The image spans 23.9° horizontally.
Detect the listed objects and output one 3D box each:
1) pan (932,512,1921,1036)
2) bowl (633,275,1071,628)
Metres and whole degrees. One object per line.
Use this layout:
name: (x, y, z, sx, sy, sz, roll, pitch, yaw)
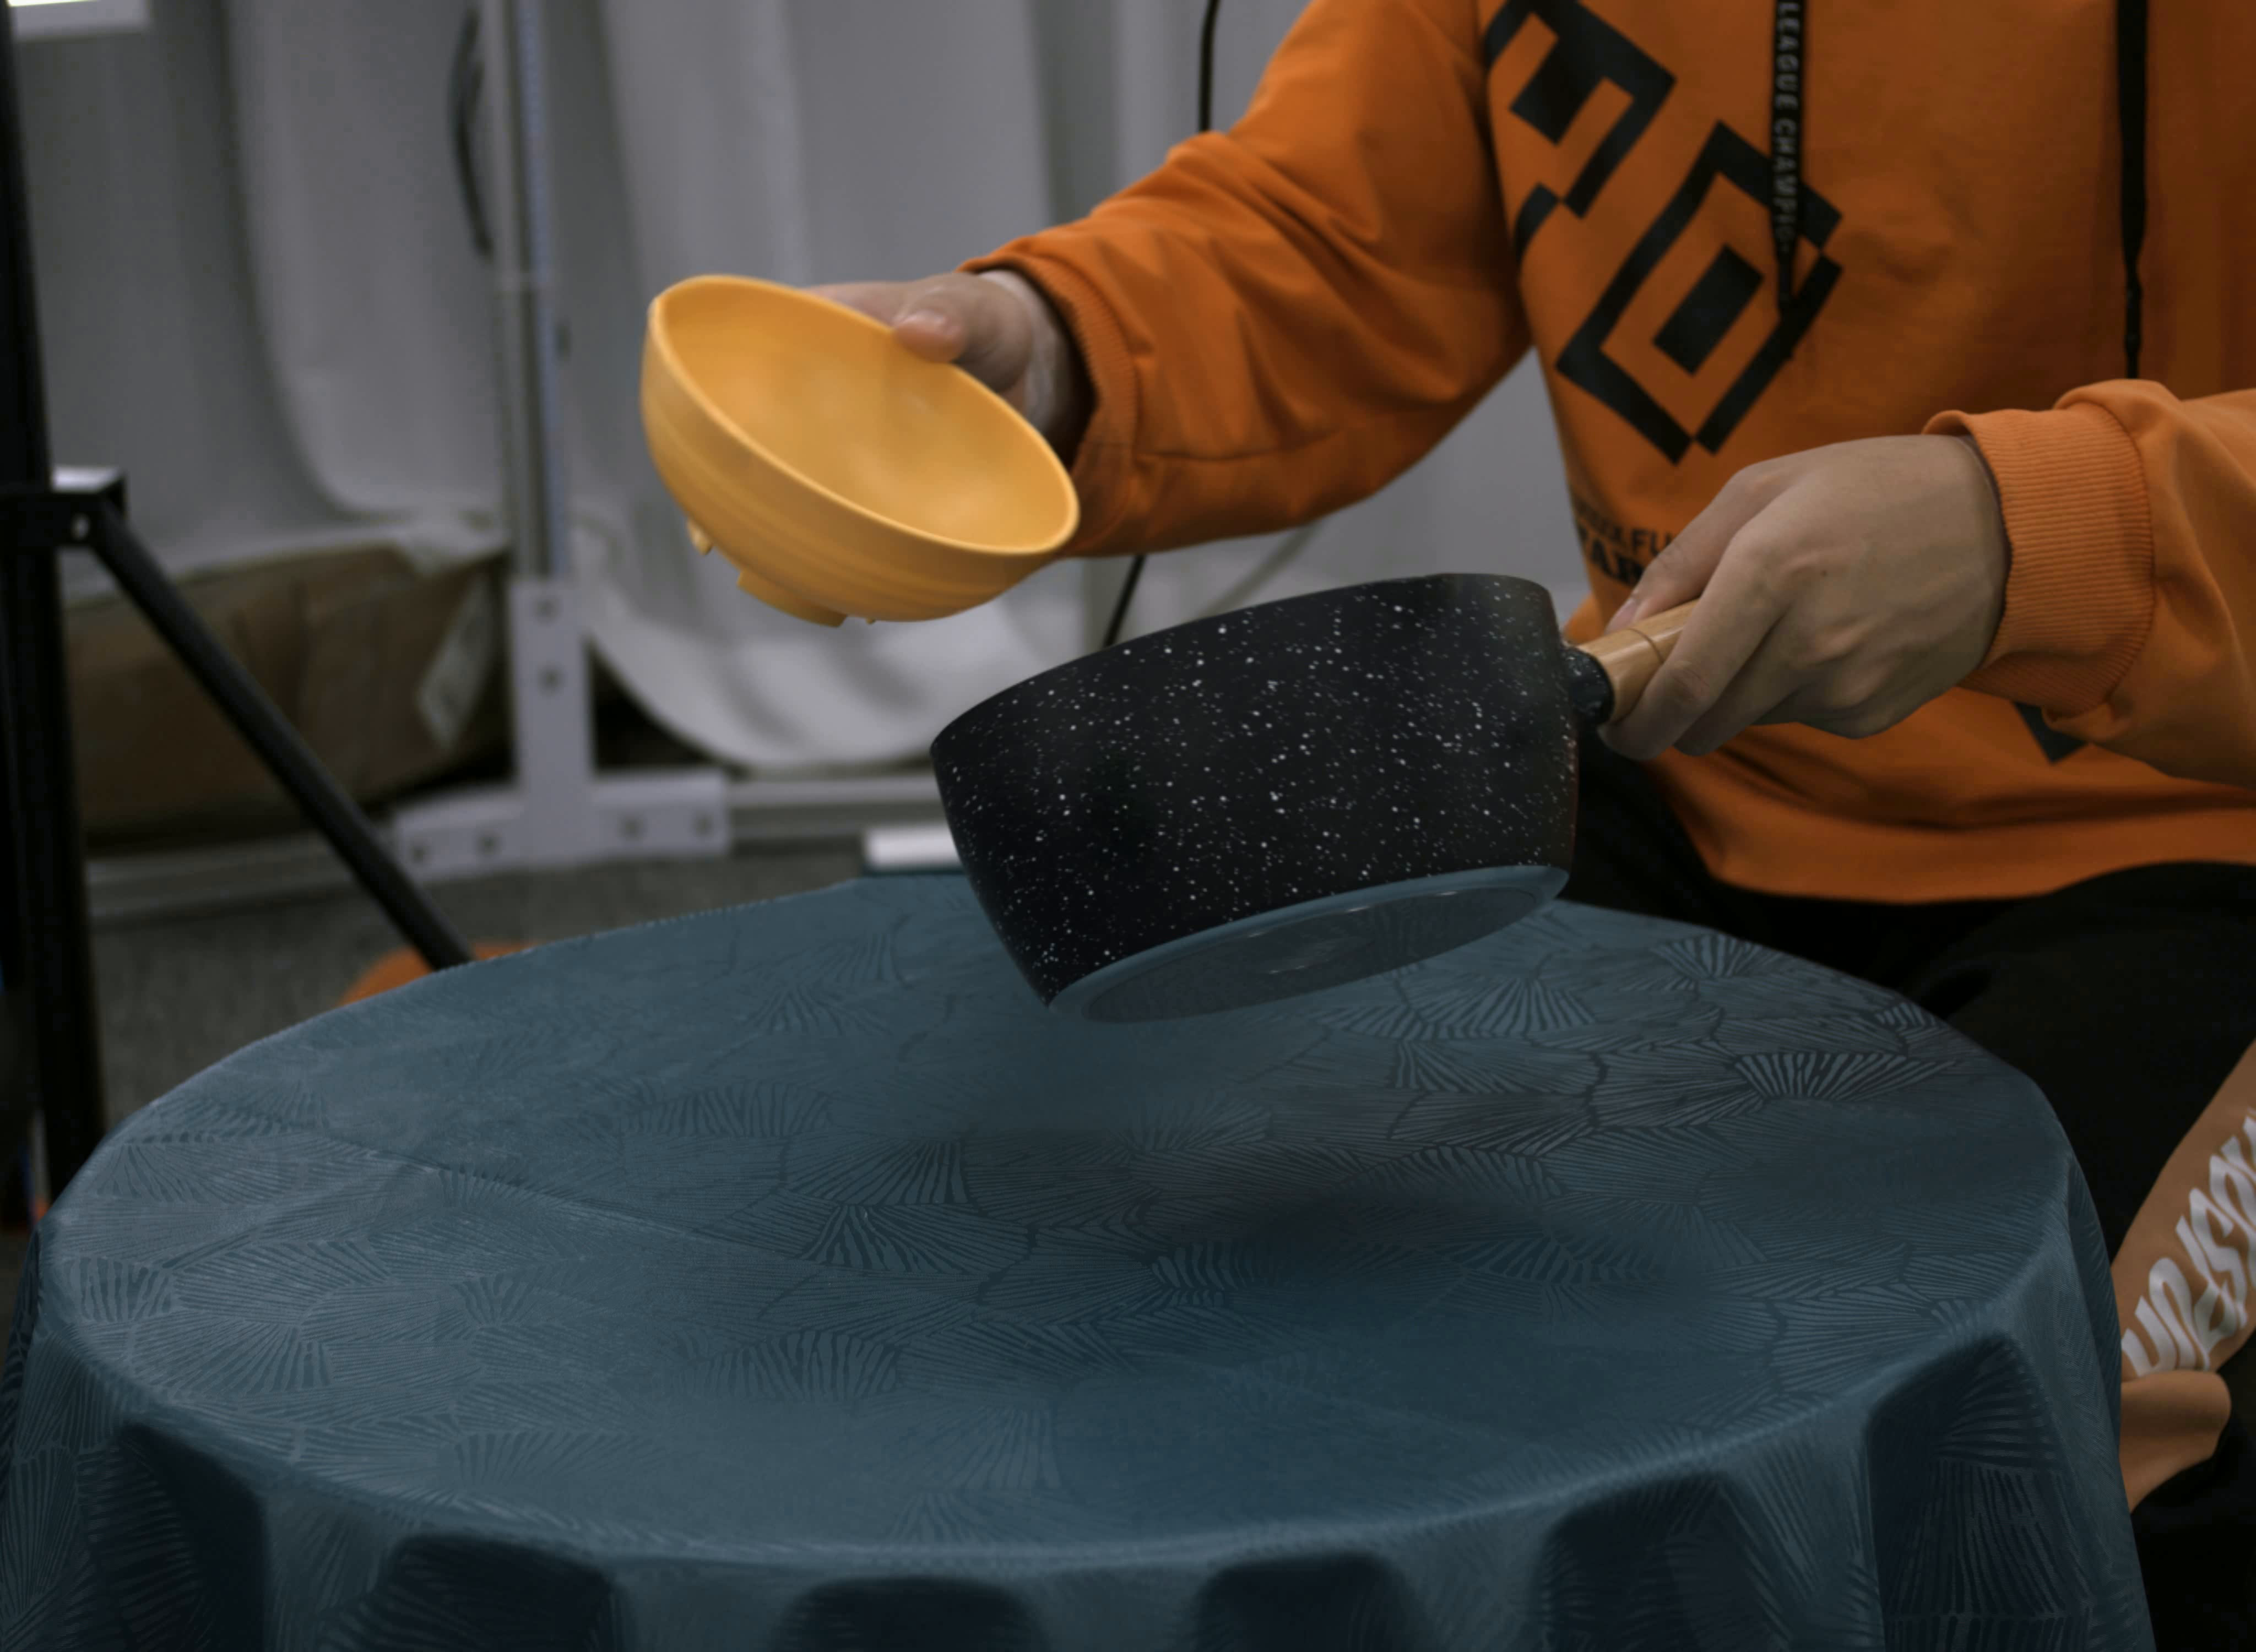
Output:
pan: (0.107, -0.022, 1.553, 0.335, 0.109, 0.210, -8, -13, -31)
bowl: (-0.094, -0.103, 1.627, 0.143, 0.060, 0.146, 23, 24, -13)
